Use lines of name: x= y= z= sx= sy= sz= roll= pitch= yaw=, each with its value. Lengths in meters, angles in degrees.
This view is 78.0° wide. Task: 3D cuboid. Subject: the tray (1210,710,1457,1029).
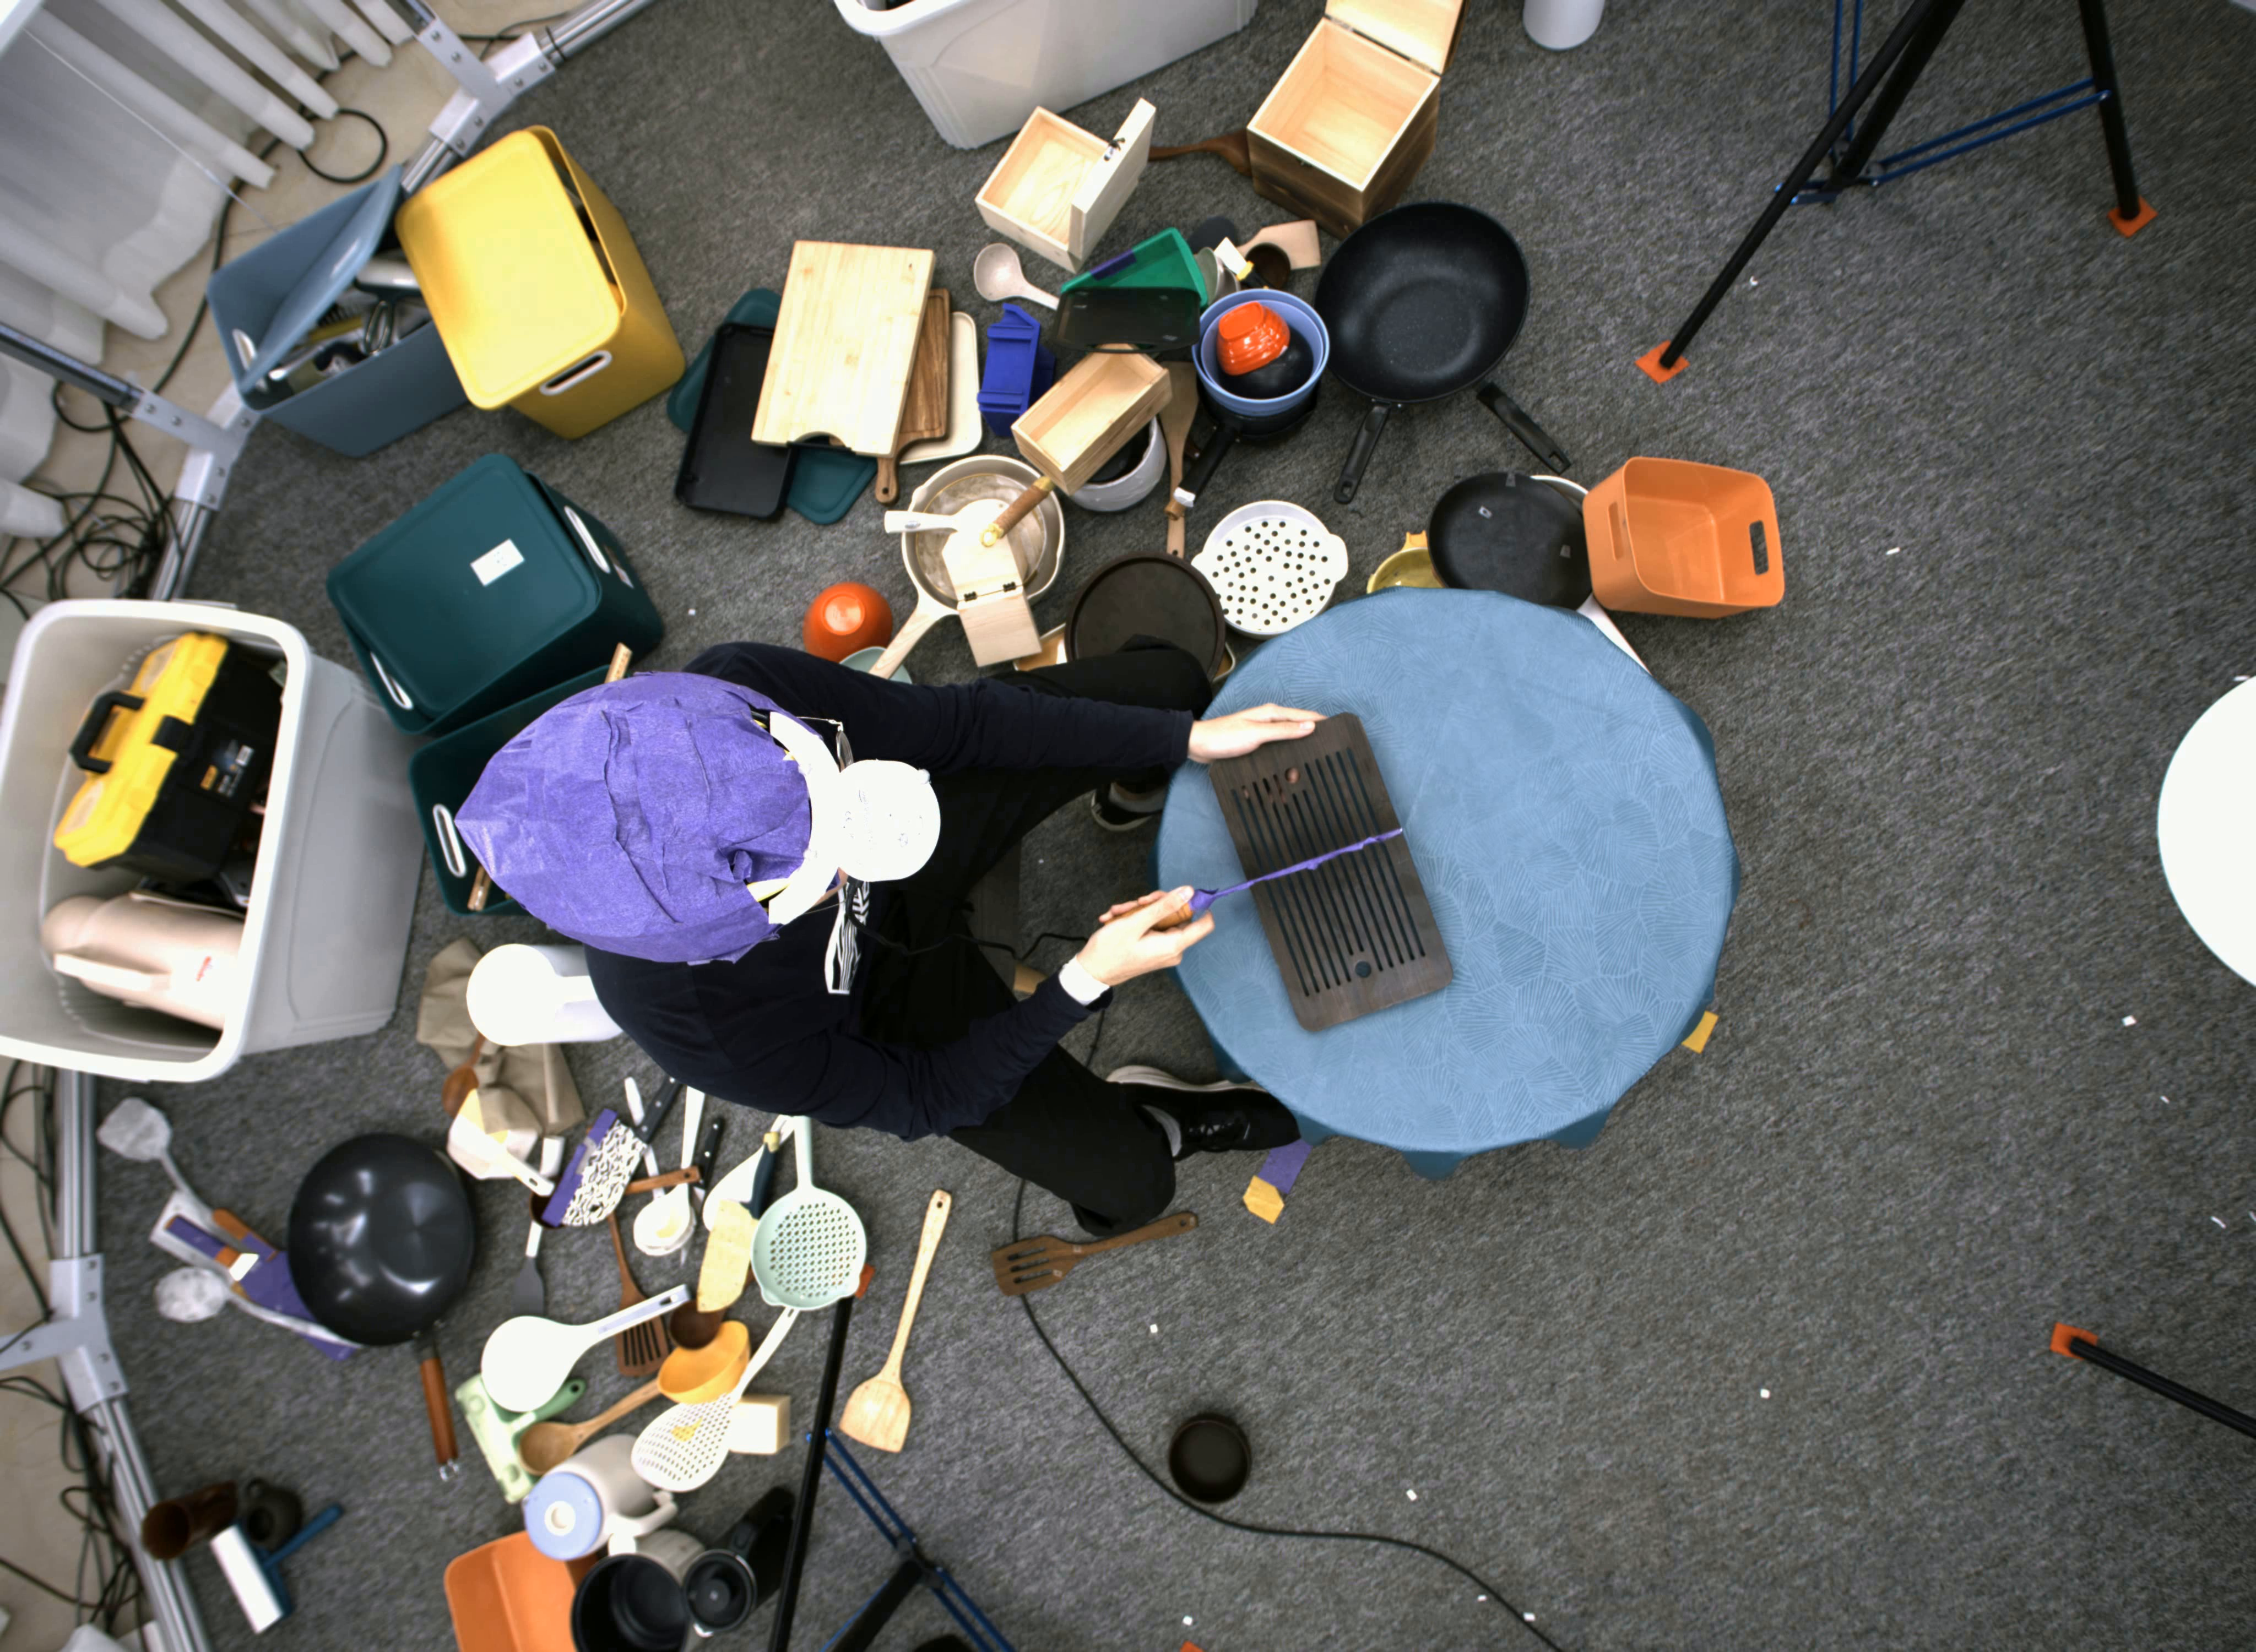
tray: x=0.215 y=0.045 z=1.447 sx=0.171 sy=0.018 sz=0.305 roll=-20 pitch=90 yaw=9

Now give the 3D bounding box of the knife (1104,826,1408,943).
knife: x=0.132 y=0.057 z=1.403 sx=0.317 sy=0.103 sz=0.032 roll=-18 pitch=86 yaw=13
